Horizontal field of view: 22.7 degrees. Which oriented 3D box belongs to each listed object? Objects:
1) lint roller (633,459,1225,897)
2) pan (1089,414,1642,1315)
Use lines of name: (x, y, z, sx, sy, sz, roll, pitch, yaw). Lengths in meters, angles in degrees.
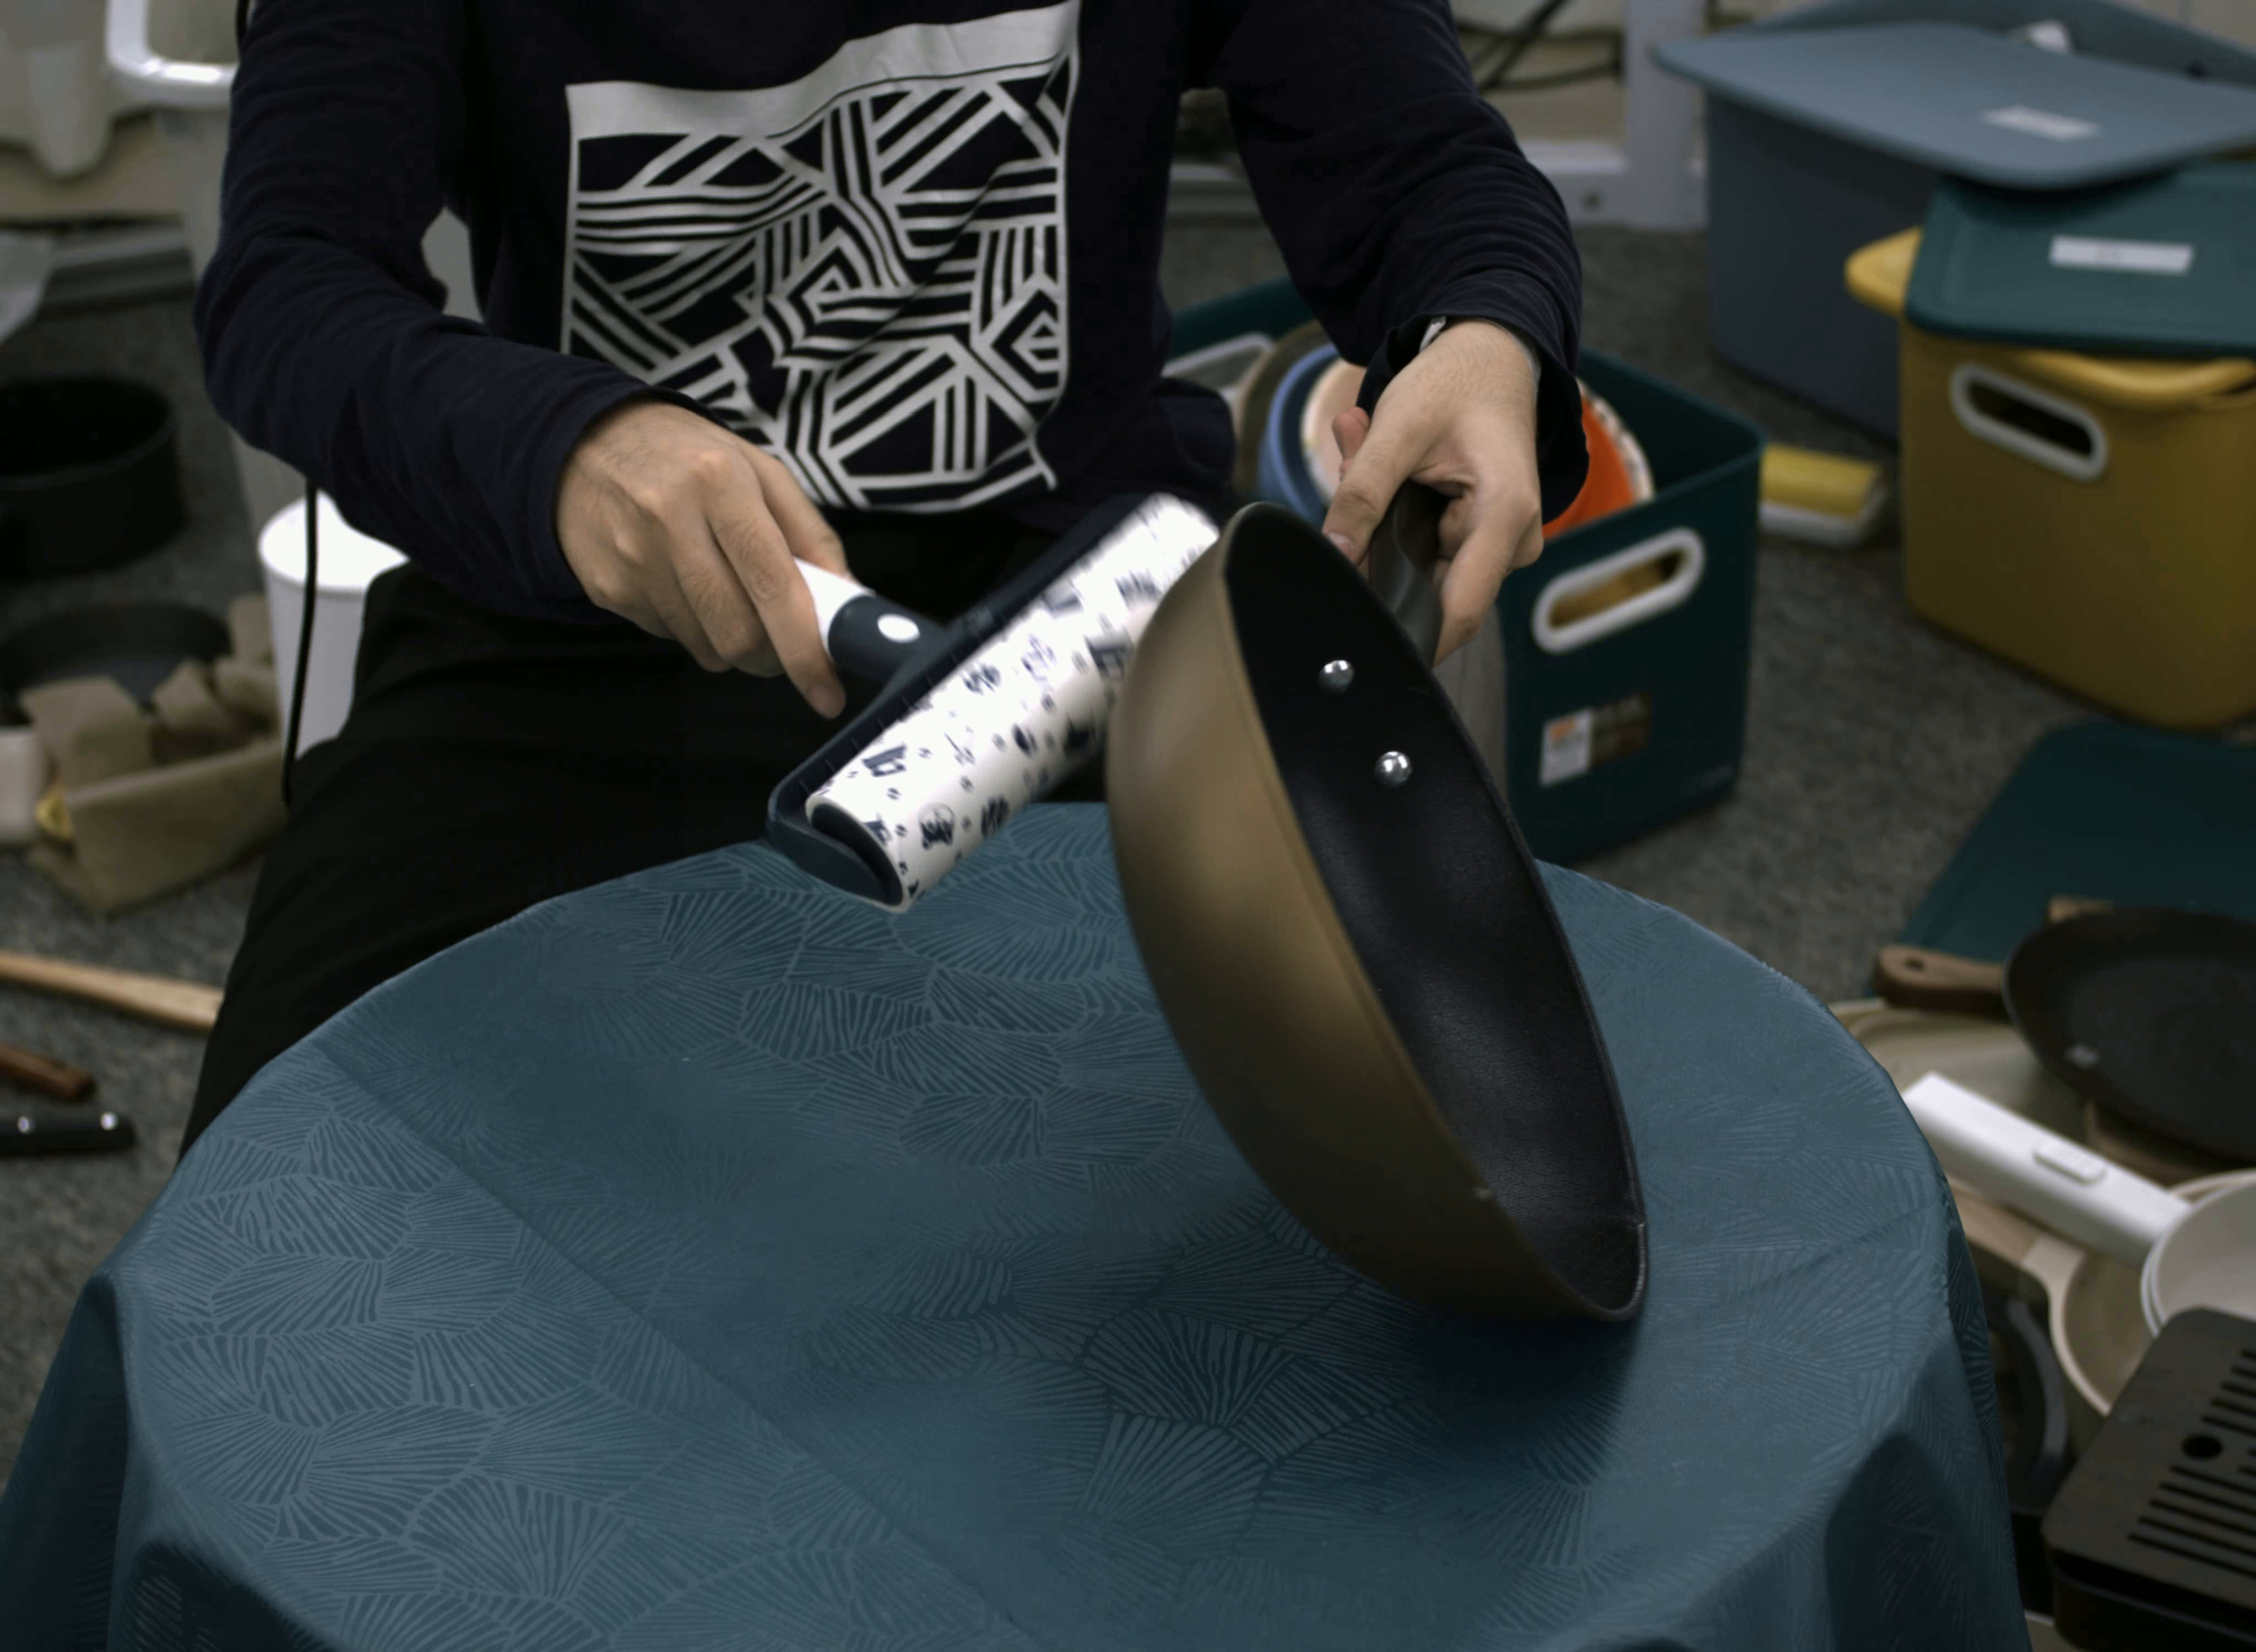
lint roller: (-0.097, -0.071, 1.875, 0.178, 0.050, 0.246, -46, 38, -20)
pan: (0.065, -0.011, 1.846, 0.086, 0.286, 0.471, -26, 28, 16)
